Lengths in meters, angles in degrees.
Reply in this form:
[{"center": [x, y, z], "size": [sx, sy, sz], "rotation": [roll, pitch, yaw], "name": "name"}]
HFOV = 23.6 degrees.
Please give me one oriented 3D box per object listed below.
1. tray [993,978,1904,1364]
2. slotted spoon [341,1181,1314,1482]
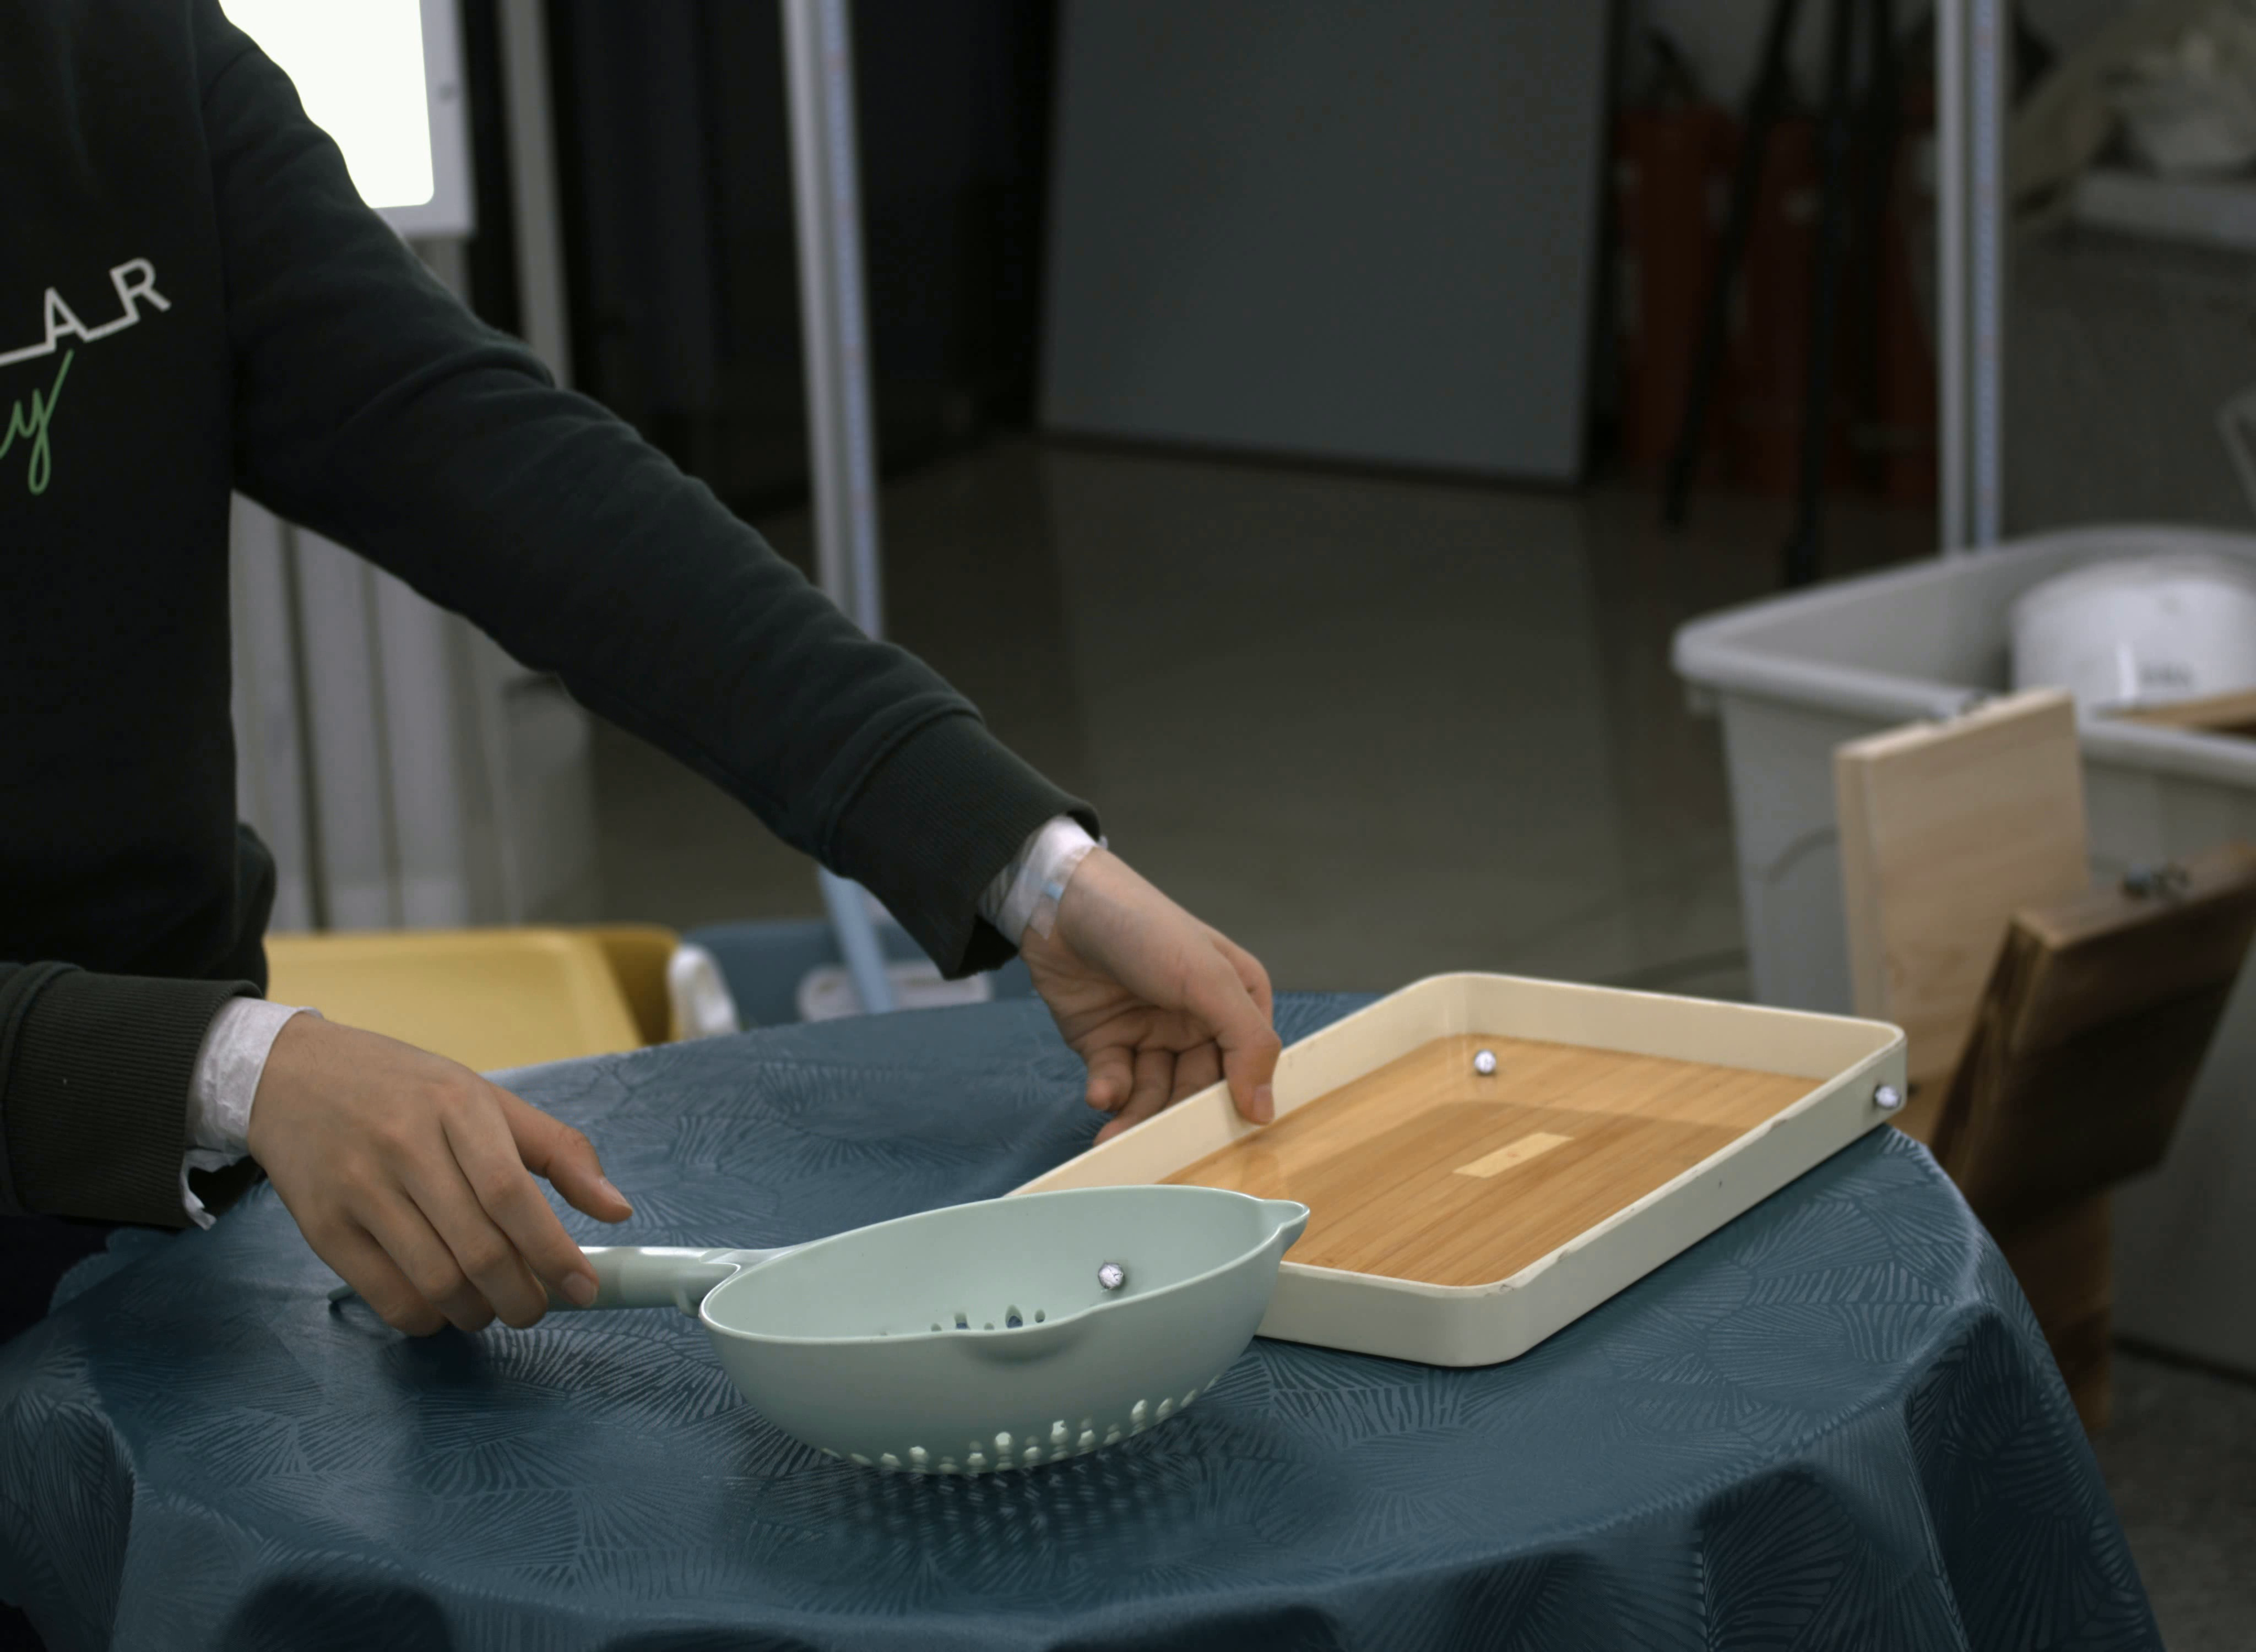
[{"center": [0.109, 0.107, 1.743], "size": [0.193, 0.028, 0.295], "rotation": [5, 16, 34], "name": "tray"}, {"center": [-0.110, 0.139, 1.596], "size": [0.361, 0.076, 0.166], "rotation": [7, 16, 39], "name": "slotted spoon"}]
